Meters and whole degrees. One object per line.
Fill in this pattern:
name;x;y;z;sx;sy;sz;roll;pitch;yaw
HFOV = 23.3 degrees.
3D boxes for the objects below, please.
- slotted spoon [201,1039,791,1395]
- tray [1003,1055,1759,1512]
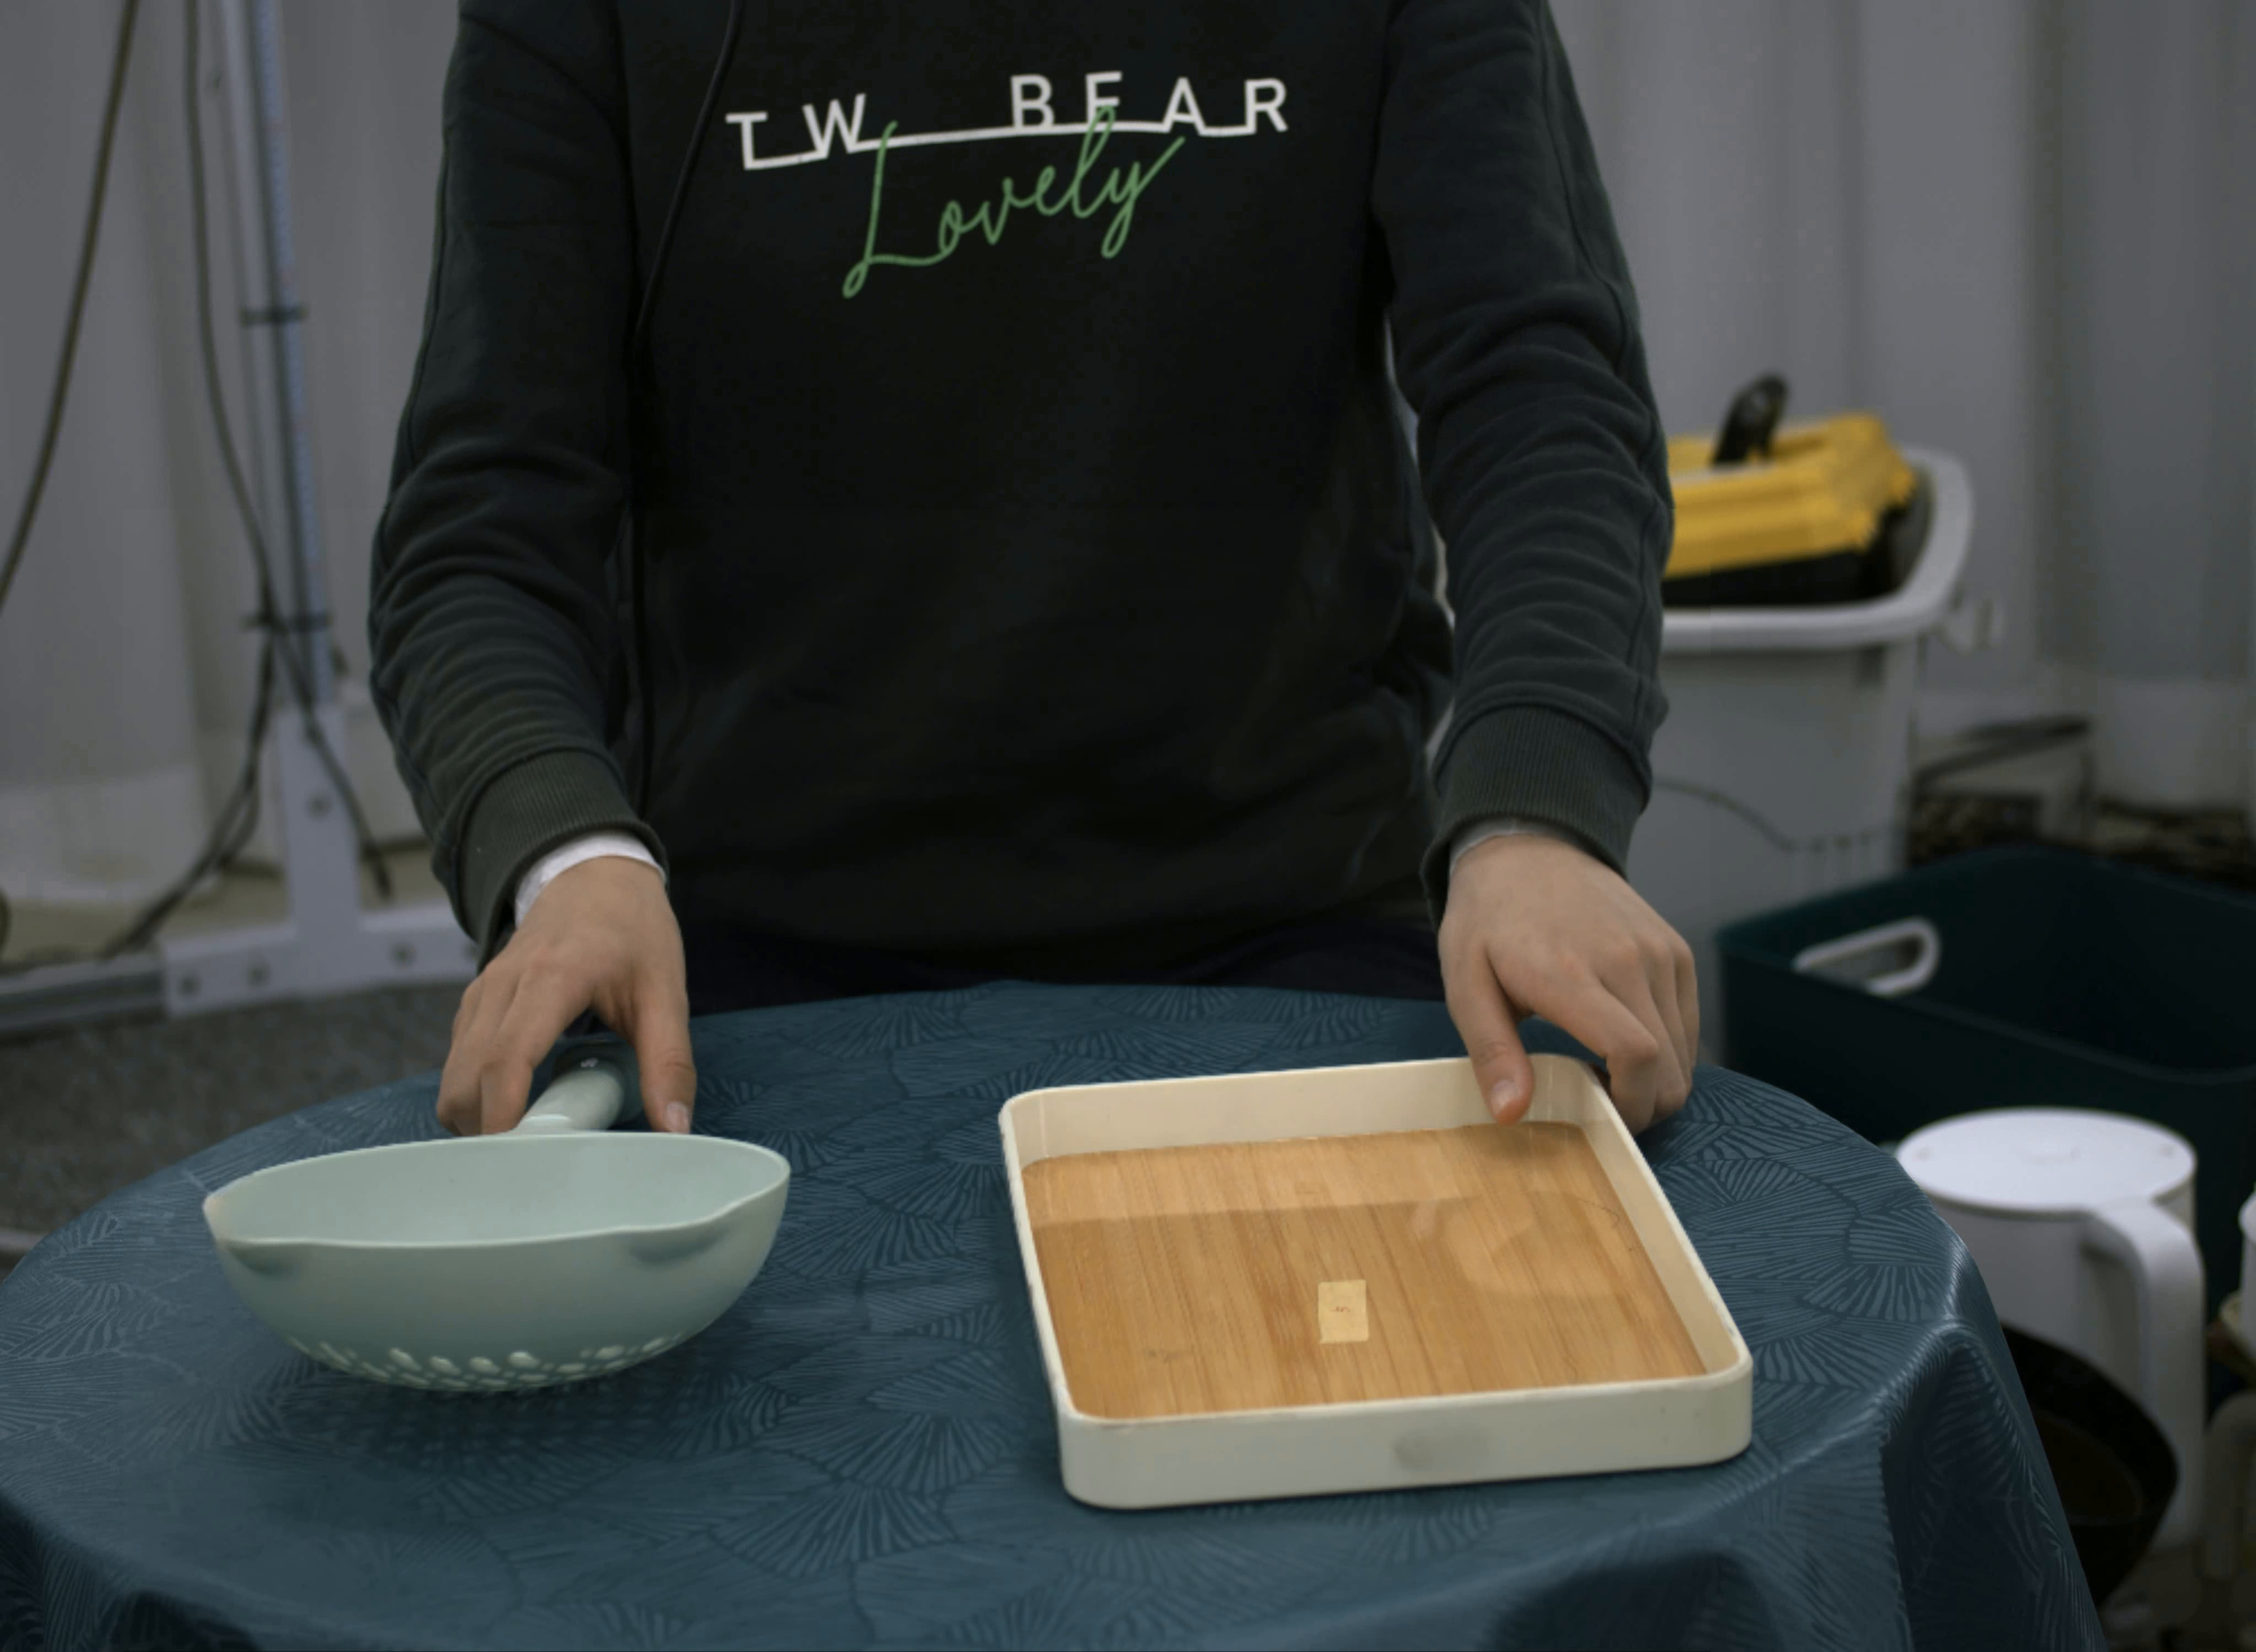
slotted spoon;-0.177;0.103;1.667;0.169;0.075;0.361;-2;15;2
tray;0.066;0.129;1.599;0.191;0.027;0.302;-4;15;-4
